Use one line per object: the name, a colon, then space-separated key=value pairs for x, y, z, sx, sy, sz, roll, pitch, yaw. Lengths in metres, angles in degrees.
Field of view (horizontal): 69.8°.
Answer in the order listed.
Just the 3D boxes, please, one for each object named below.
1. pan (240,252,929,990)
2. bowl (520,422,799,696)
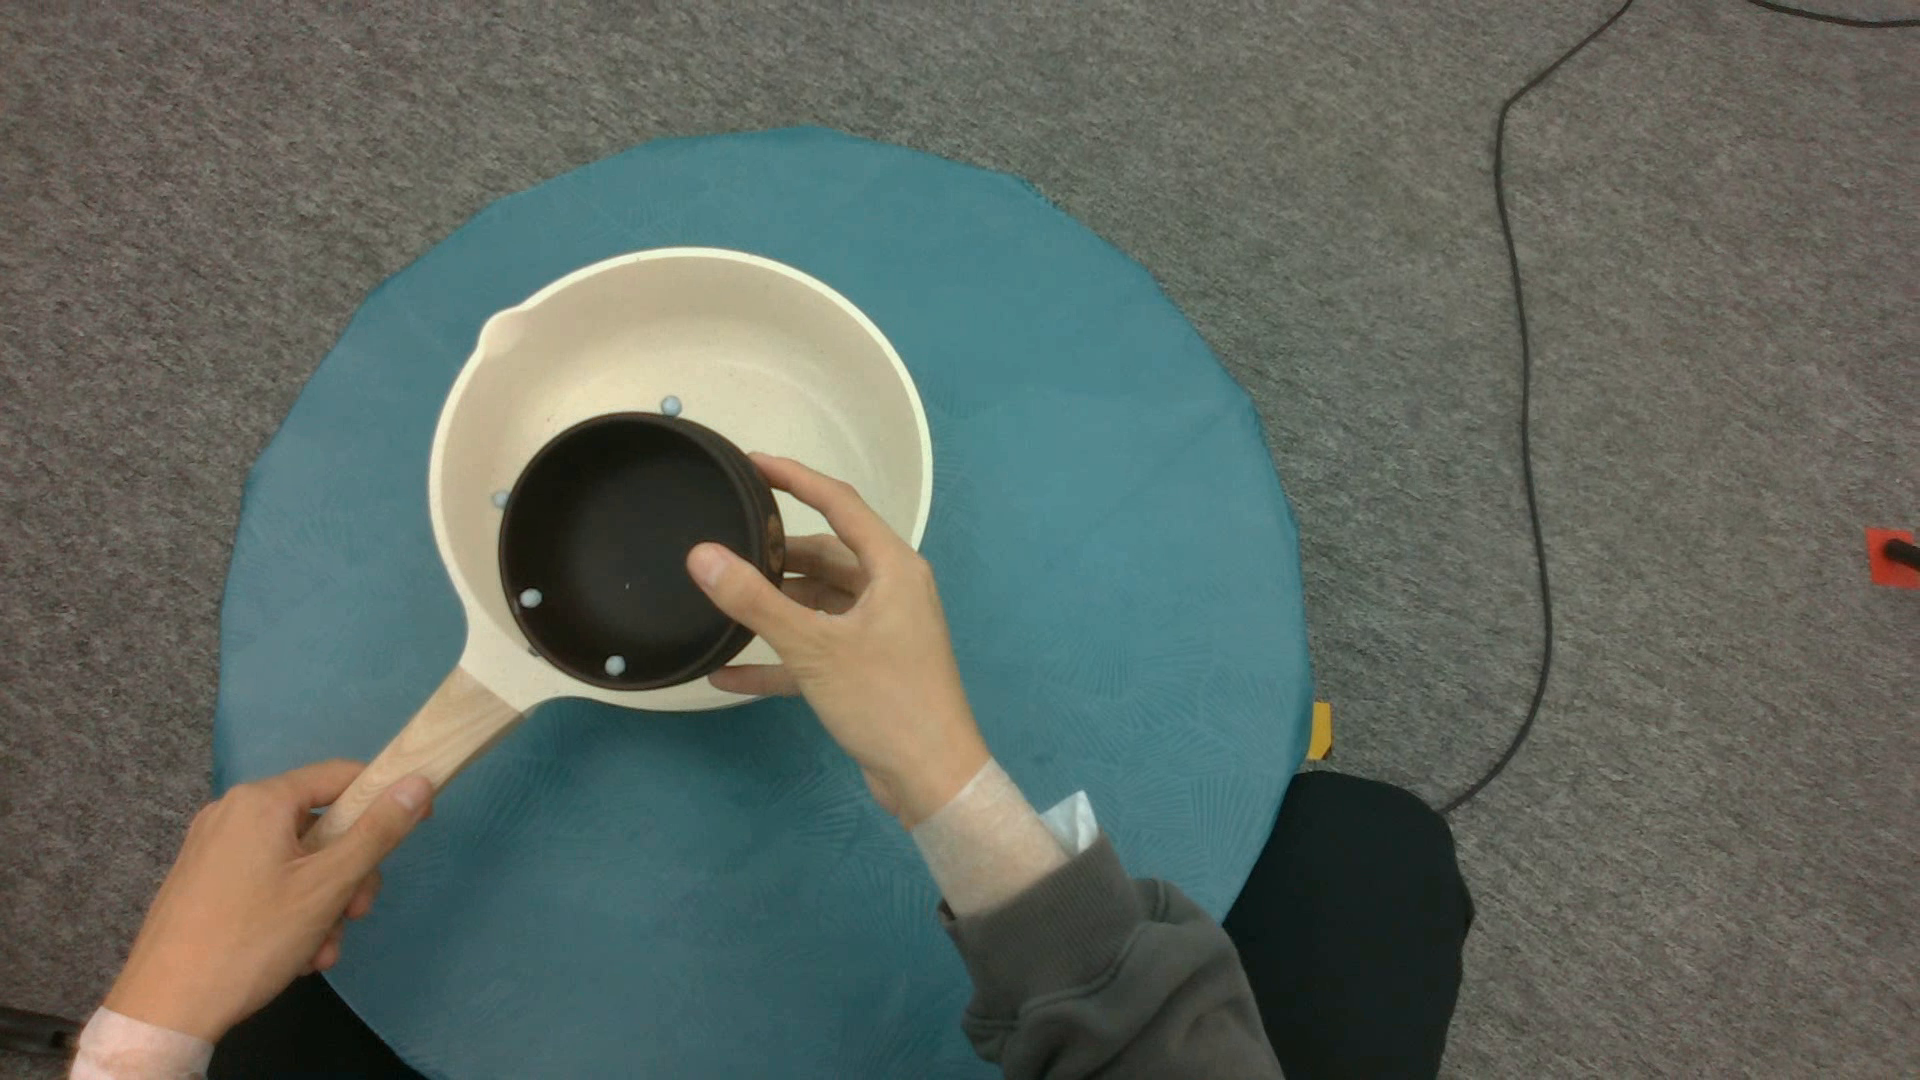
pan: x=-0.197 y=0.043 z=0.722 sx=0.263 sy=0.101 sz=0.436 roll=36 pitch=74 yaw=6
bowl: x=-0.127 y=0.008 z=0.613 sx=0.118 sy=0.070 sz=0.118 roll=0 pitch=90 yaw=10
